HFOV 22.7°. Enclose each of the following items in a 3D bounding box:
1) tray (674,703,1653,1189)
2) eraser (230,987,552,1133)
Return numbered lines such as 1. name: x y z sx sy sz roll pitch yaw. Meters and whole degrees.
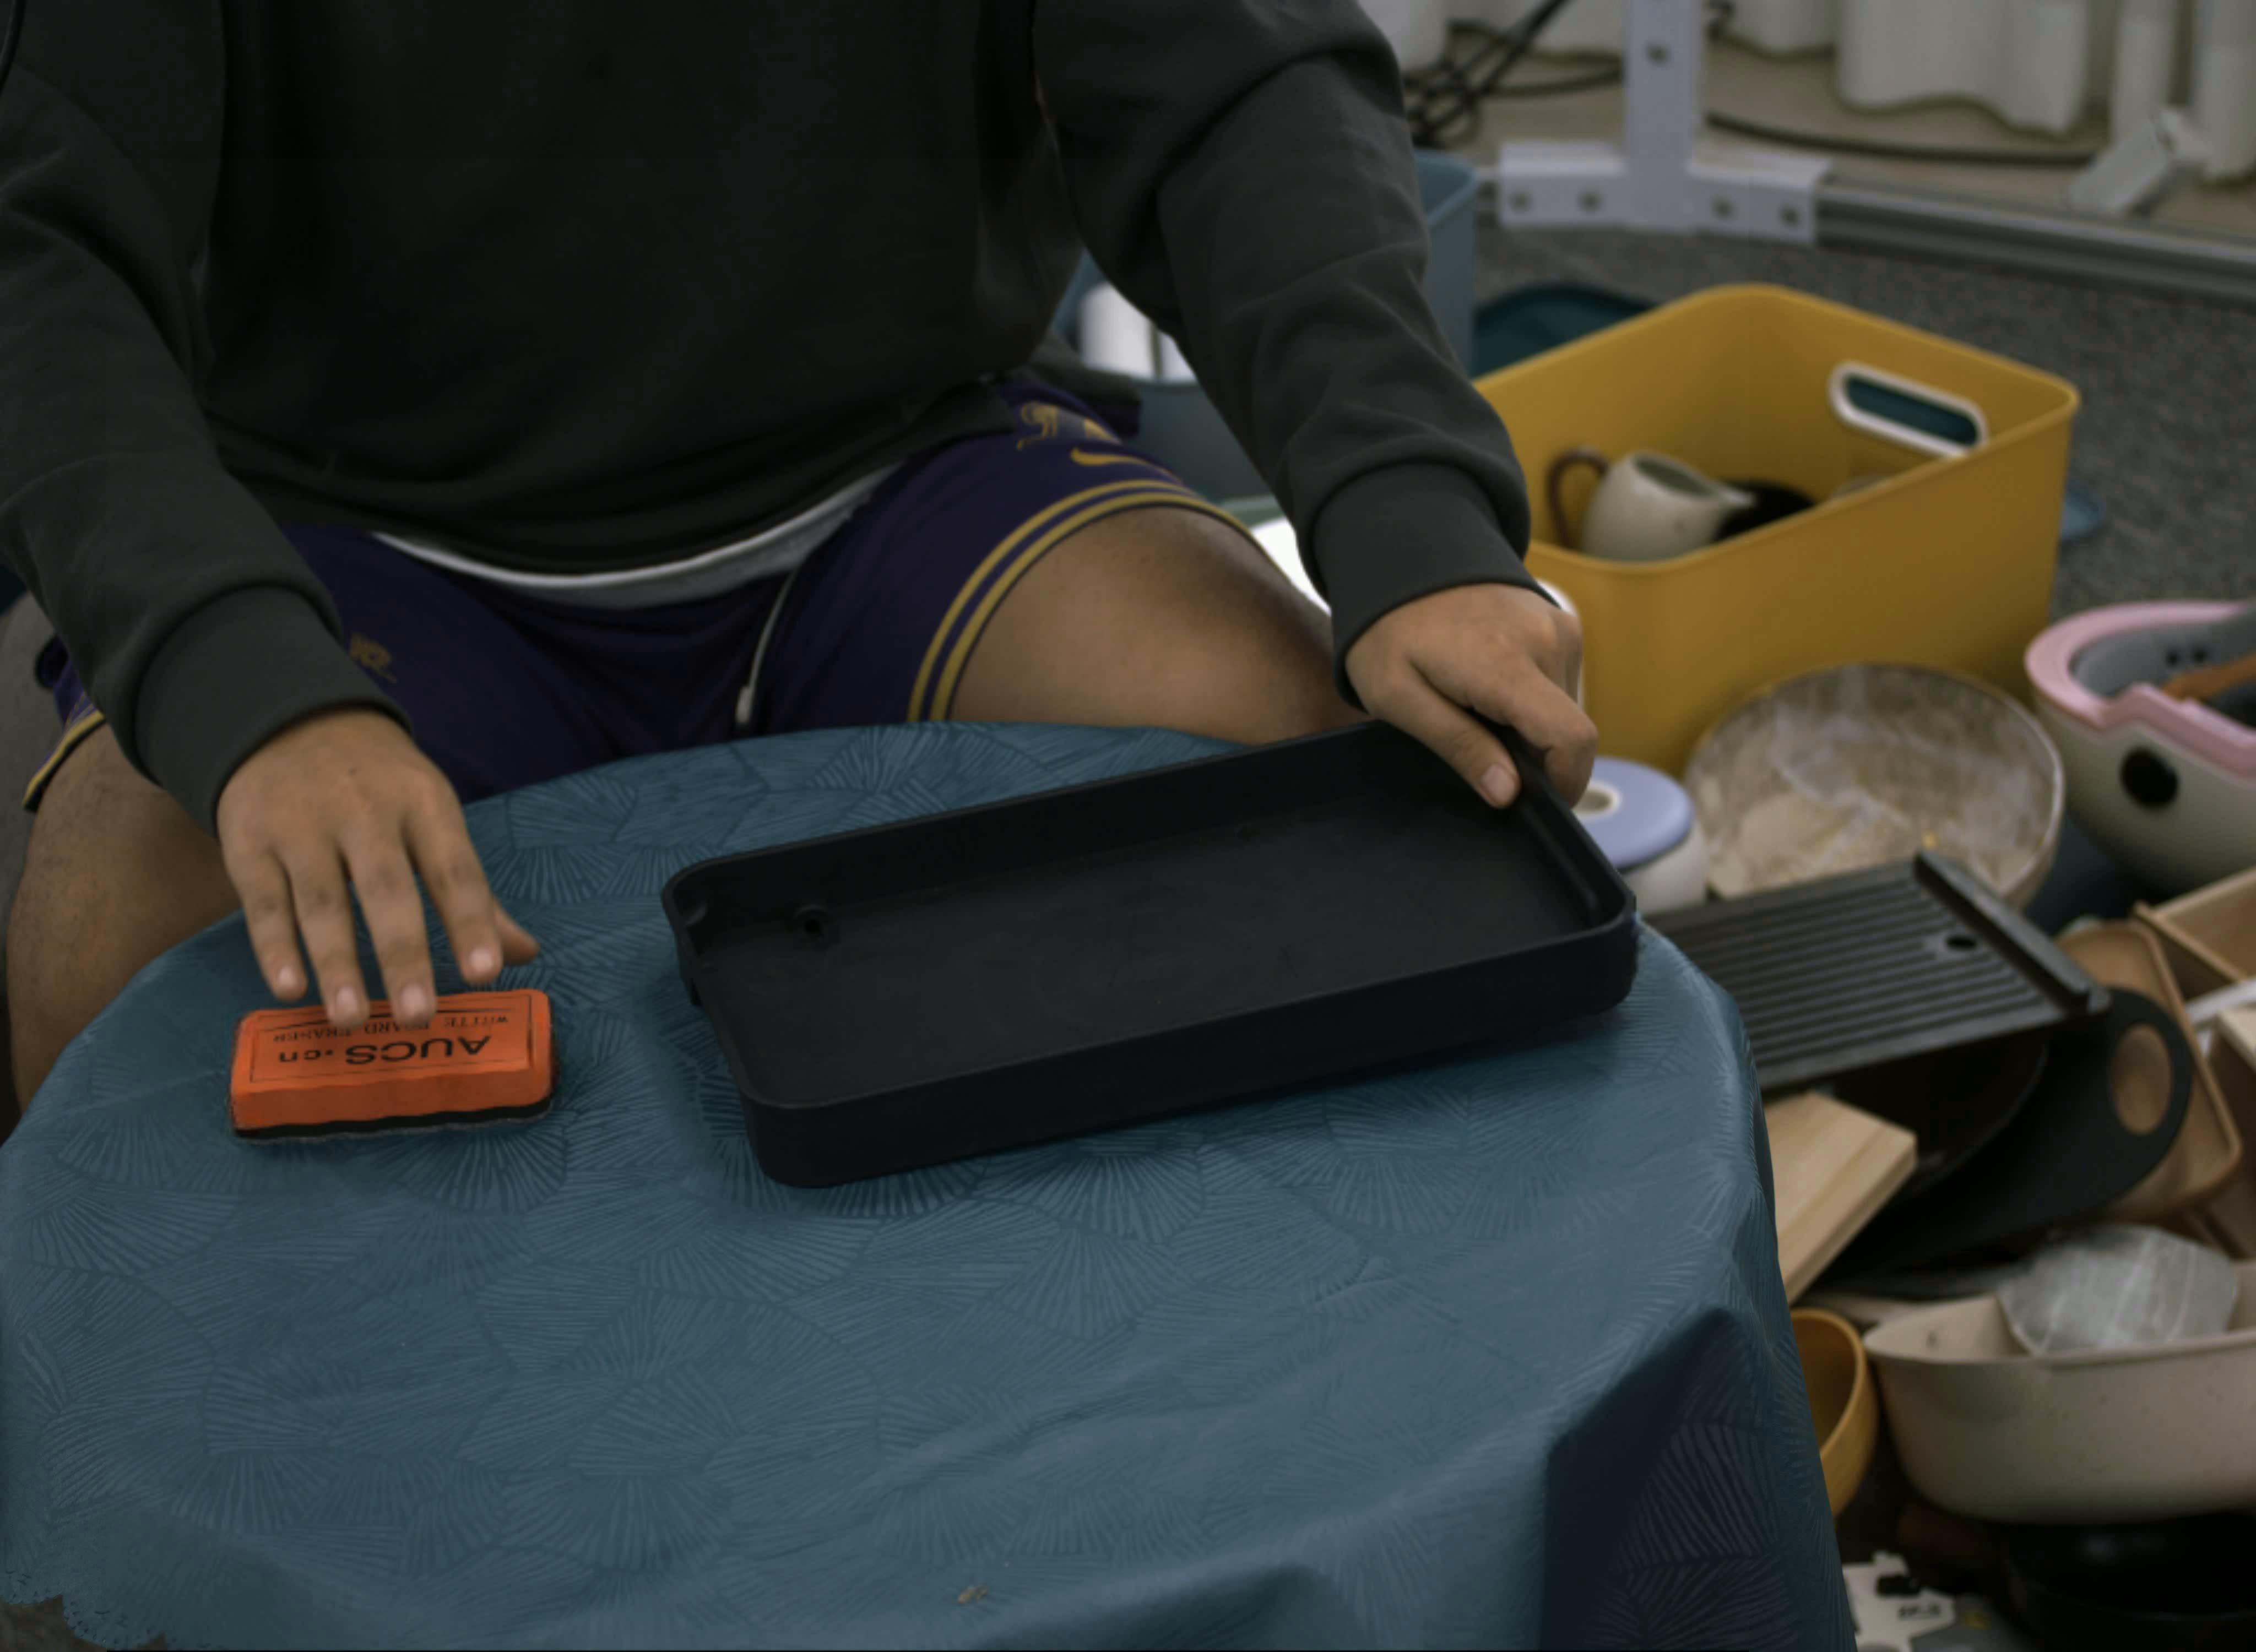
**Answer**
1. tray: 0.011 0.038 1.971 0.318 0.036 0.186 -13 28 -13
2. eraser: -0.253 0.081 1.934 0.107 0.023 0.059 -6 20 -3
